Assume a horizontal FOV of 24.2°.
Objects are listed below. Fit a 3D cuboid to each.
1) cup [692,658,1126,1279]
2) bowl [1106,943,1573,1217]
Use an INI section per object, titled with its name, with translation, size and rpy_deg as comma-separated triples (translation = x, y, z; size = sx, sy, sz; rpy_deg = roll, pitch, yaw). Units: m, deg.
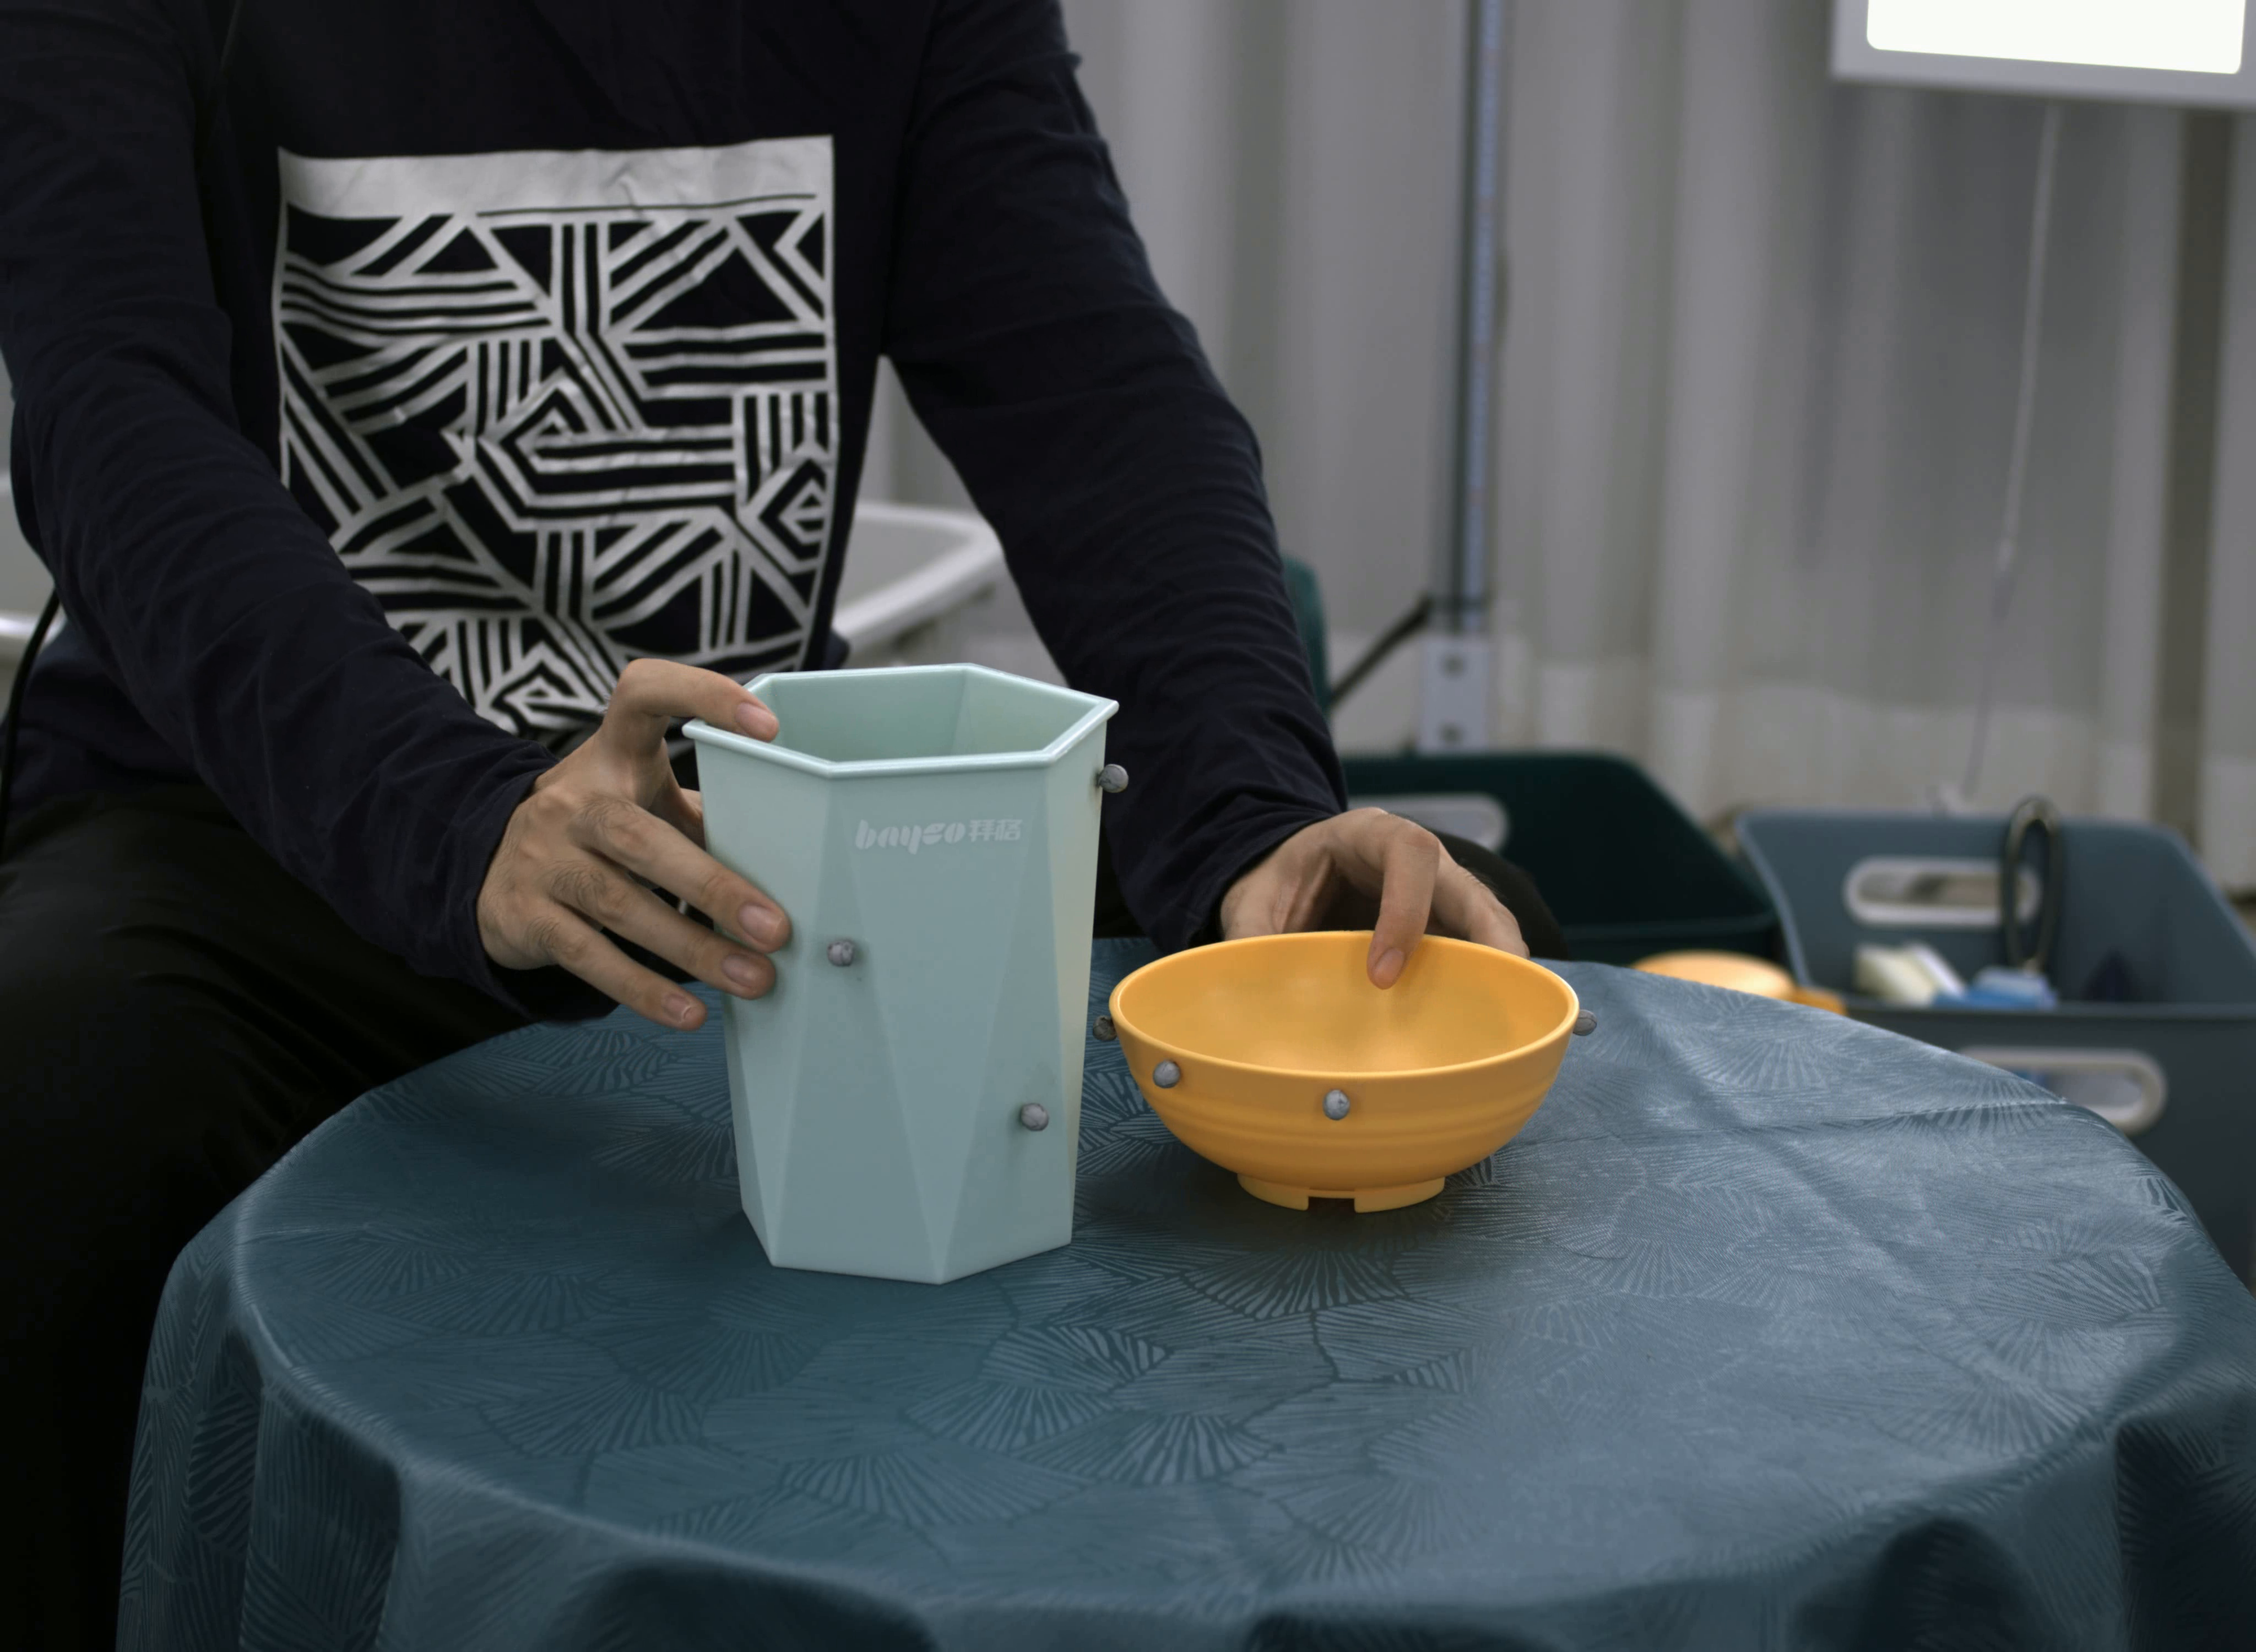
[cup]
translation = -0.065, 0.042, 1.568
size = 0.131, 0.164, 0.114
rpy_deg = -3, 15, -15
[bowl]
translation = 0.065, 0.083, 1.633
size = 0.145, 0.060, 0.144
rpy_deg = 1, 14, 0
